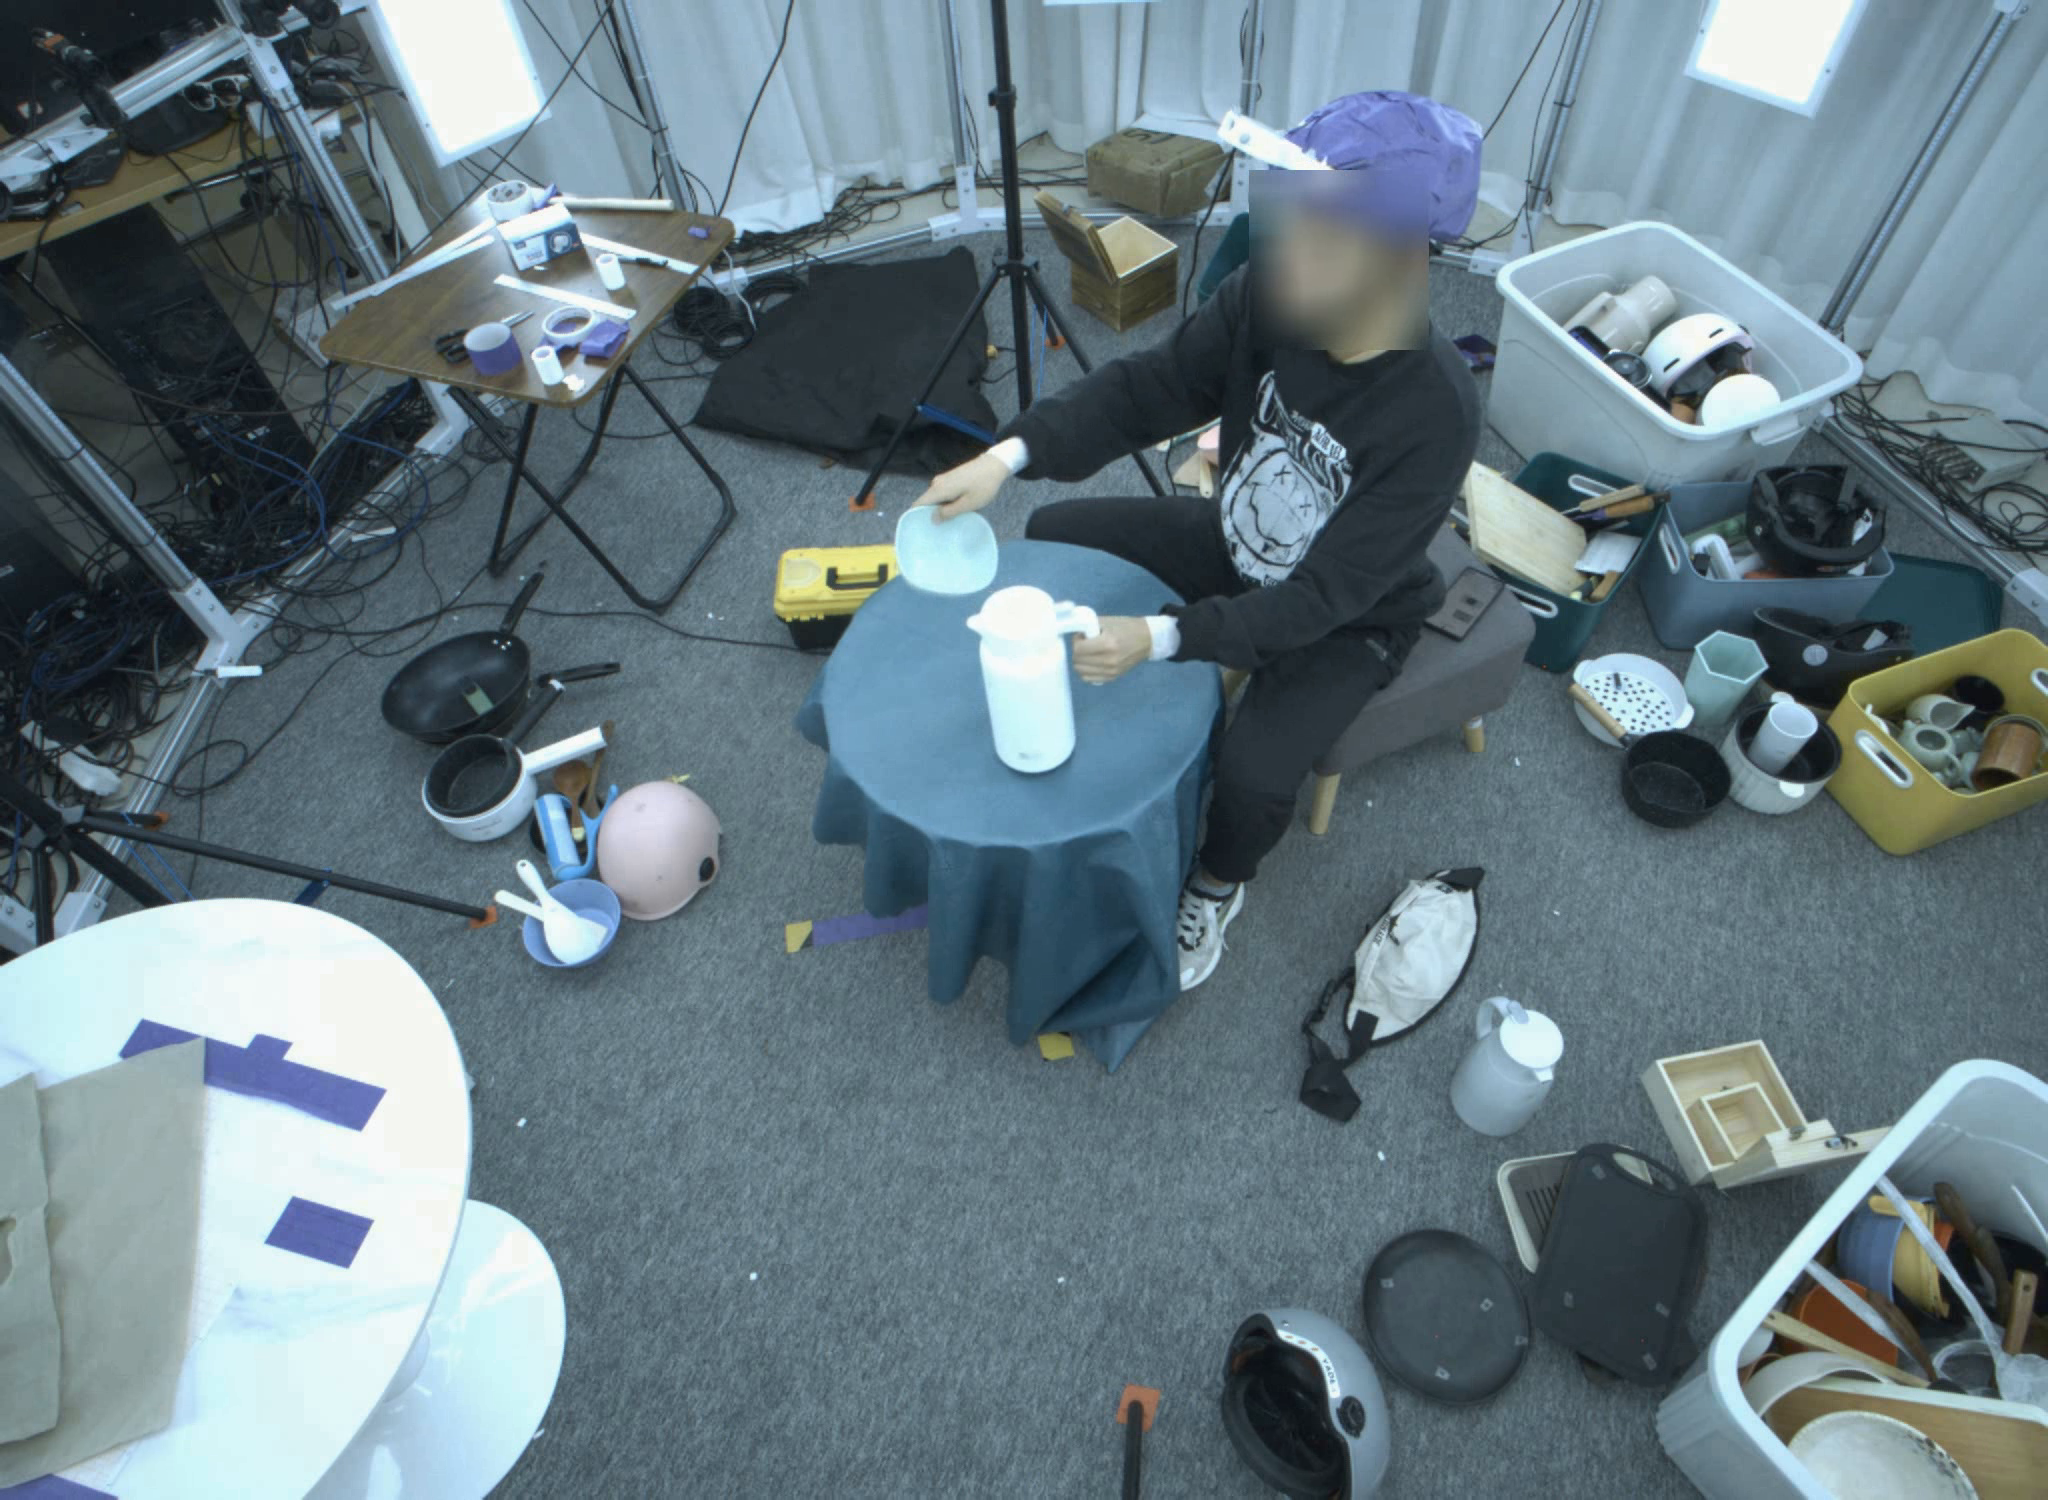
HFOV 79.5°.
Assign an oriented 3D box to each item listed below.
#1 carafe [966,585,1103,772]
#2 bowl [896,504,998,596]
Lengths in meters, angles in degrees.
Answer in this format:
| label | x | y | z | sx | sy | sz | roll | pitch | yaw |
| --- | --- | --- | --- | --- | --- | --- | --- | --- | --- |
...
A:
| label | x | y | z | sx | sy | sz | roll | pitch | yaw |
| --- | --- | --- | --- | --- | --- | --- | --- | --- | --- |
| carafe | 0.021 | -0.098 | 1.683 | 0.173 | 0.272 | 0.122 | -9 | 48 | -1 |
| bowl | -0.109 | -0.260 | 1.651 | 0.153 | 0.058 | 0.150 | 7 | 66 | -15 |
